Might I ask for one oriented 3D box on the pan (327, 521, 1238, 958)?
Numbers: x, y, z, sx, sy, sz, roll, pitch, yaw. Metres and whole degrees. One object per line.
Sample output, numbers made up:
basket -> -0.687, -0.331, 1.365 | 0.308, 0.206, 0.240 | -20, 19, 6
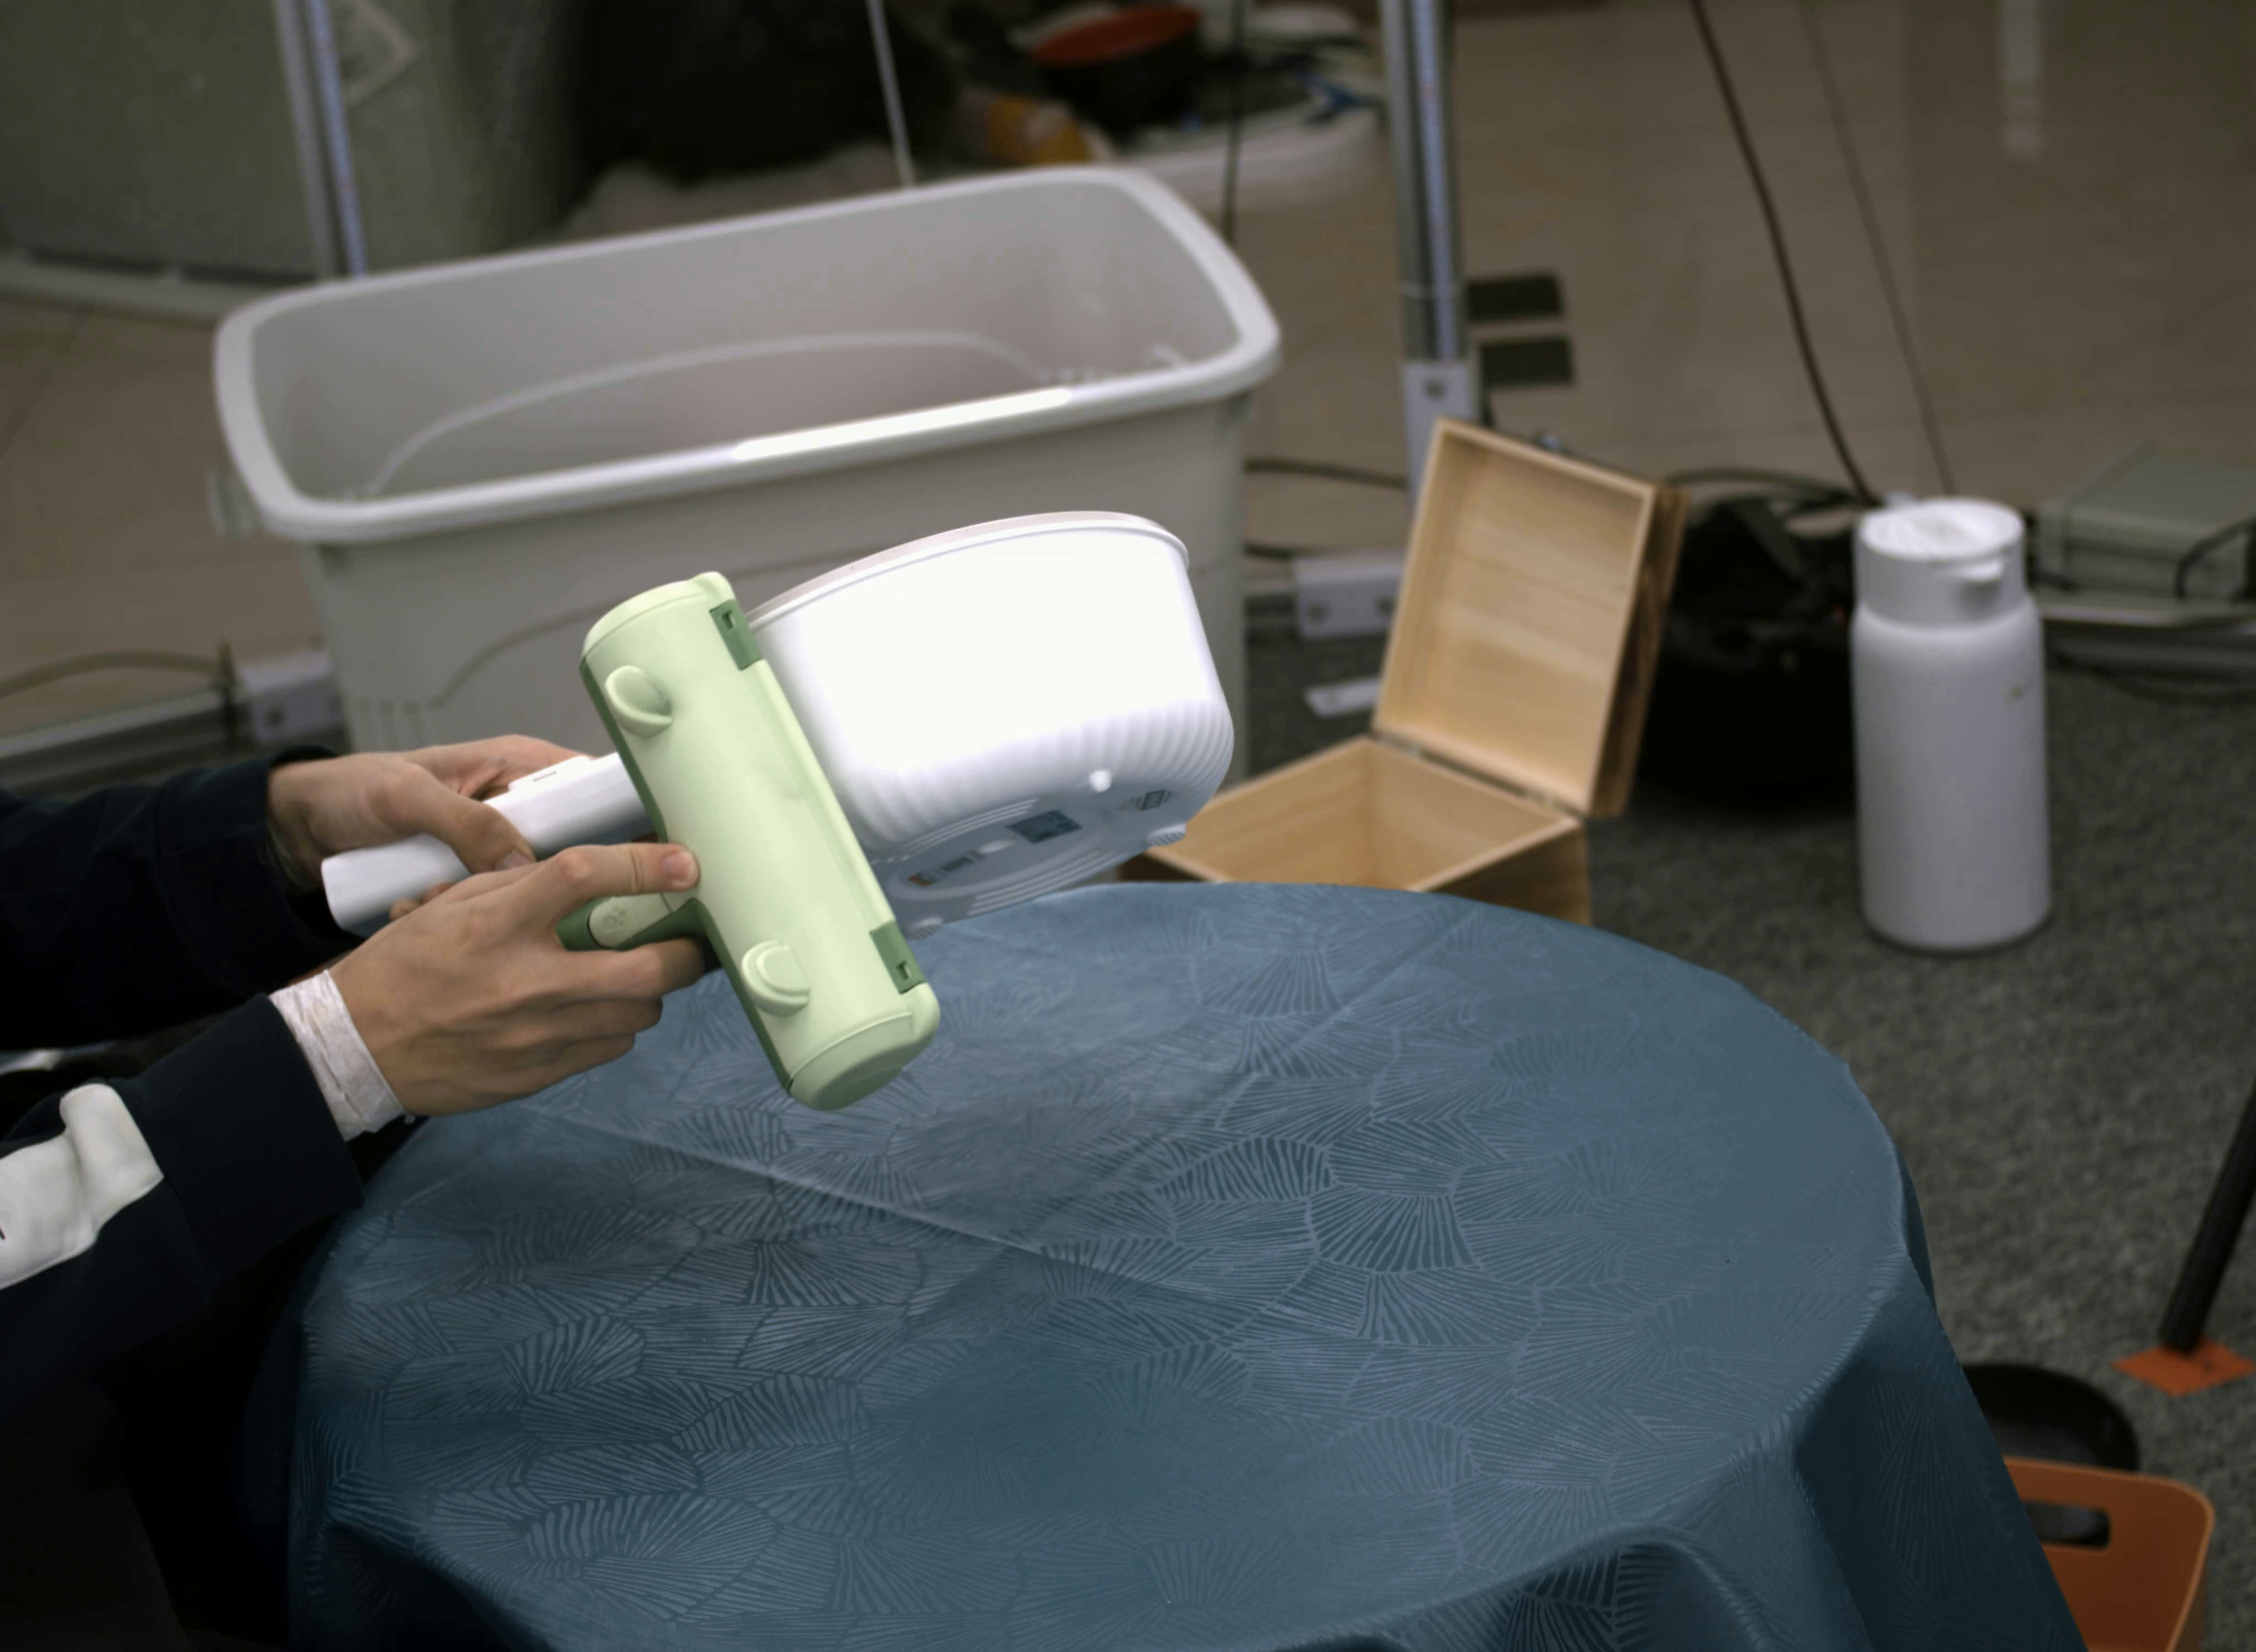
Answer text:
pan -> -0.128, 0.001, 2.128 | 0.355, 0.101, 0.202 | -22, -13, 12

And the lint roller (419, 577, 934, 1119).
lint roller -> -0.185, 0.034, 2.021 | 0.183, 0.197, 0.082 | -29, -16, 8
